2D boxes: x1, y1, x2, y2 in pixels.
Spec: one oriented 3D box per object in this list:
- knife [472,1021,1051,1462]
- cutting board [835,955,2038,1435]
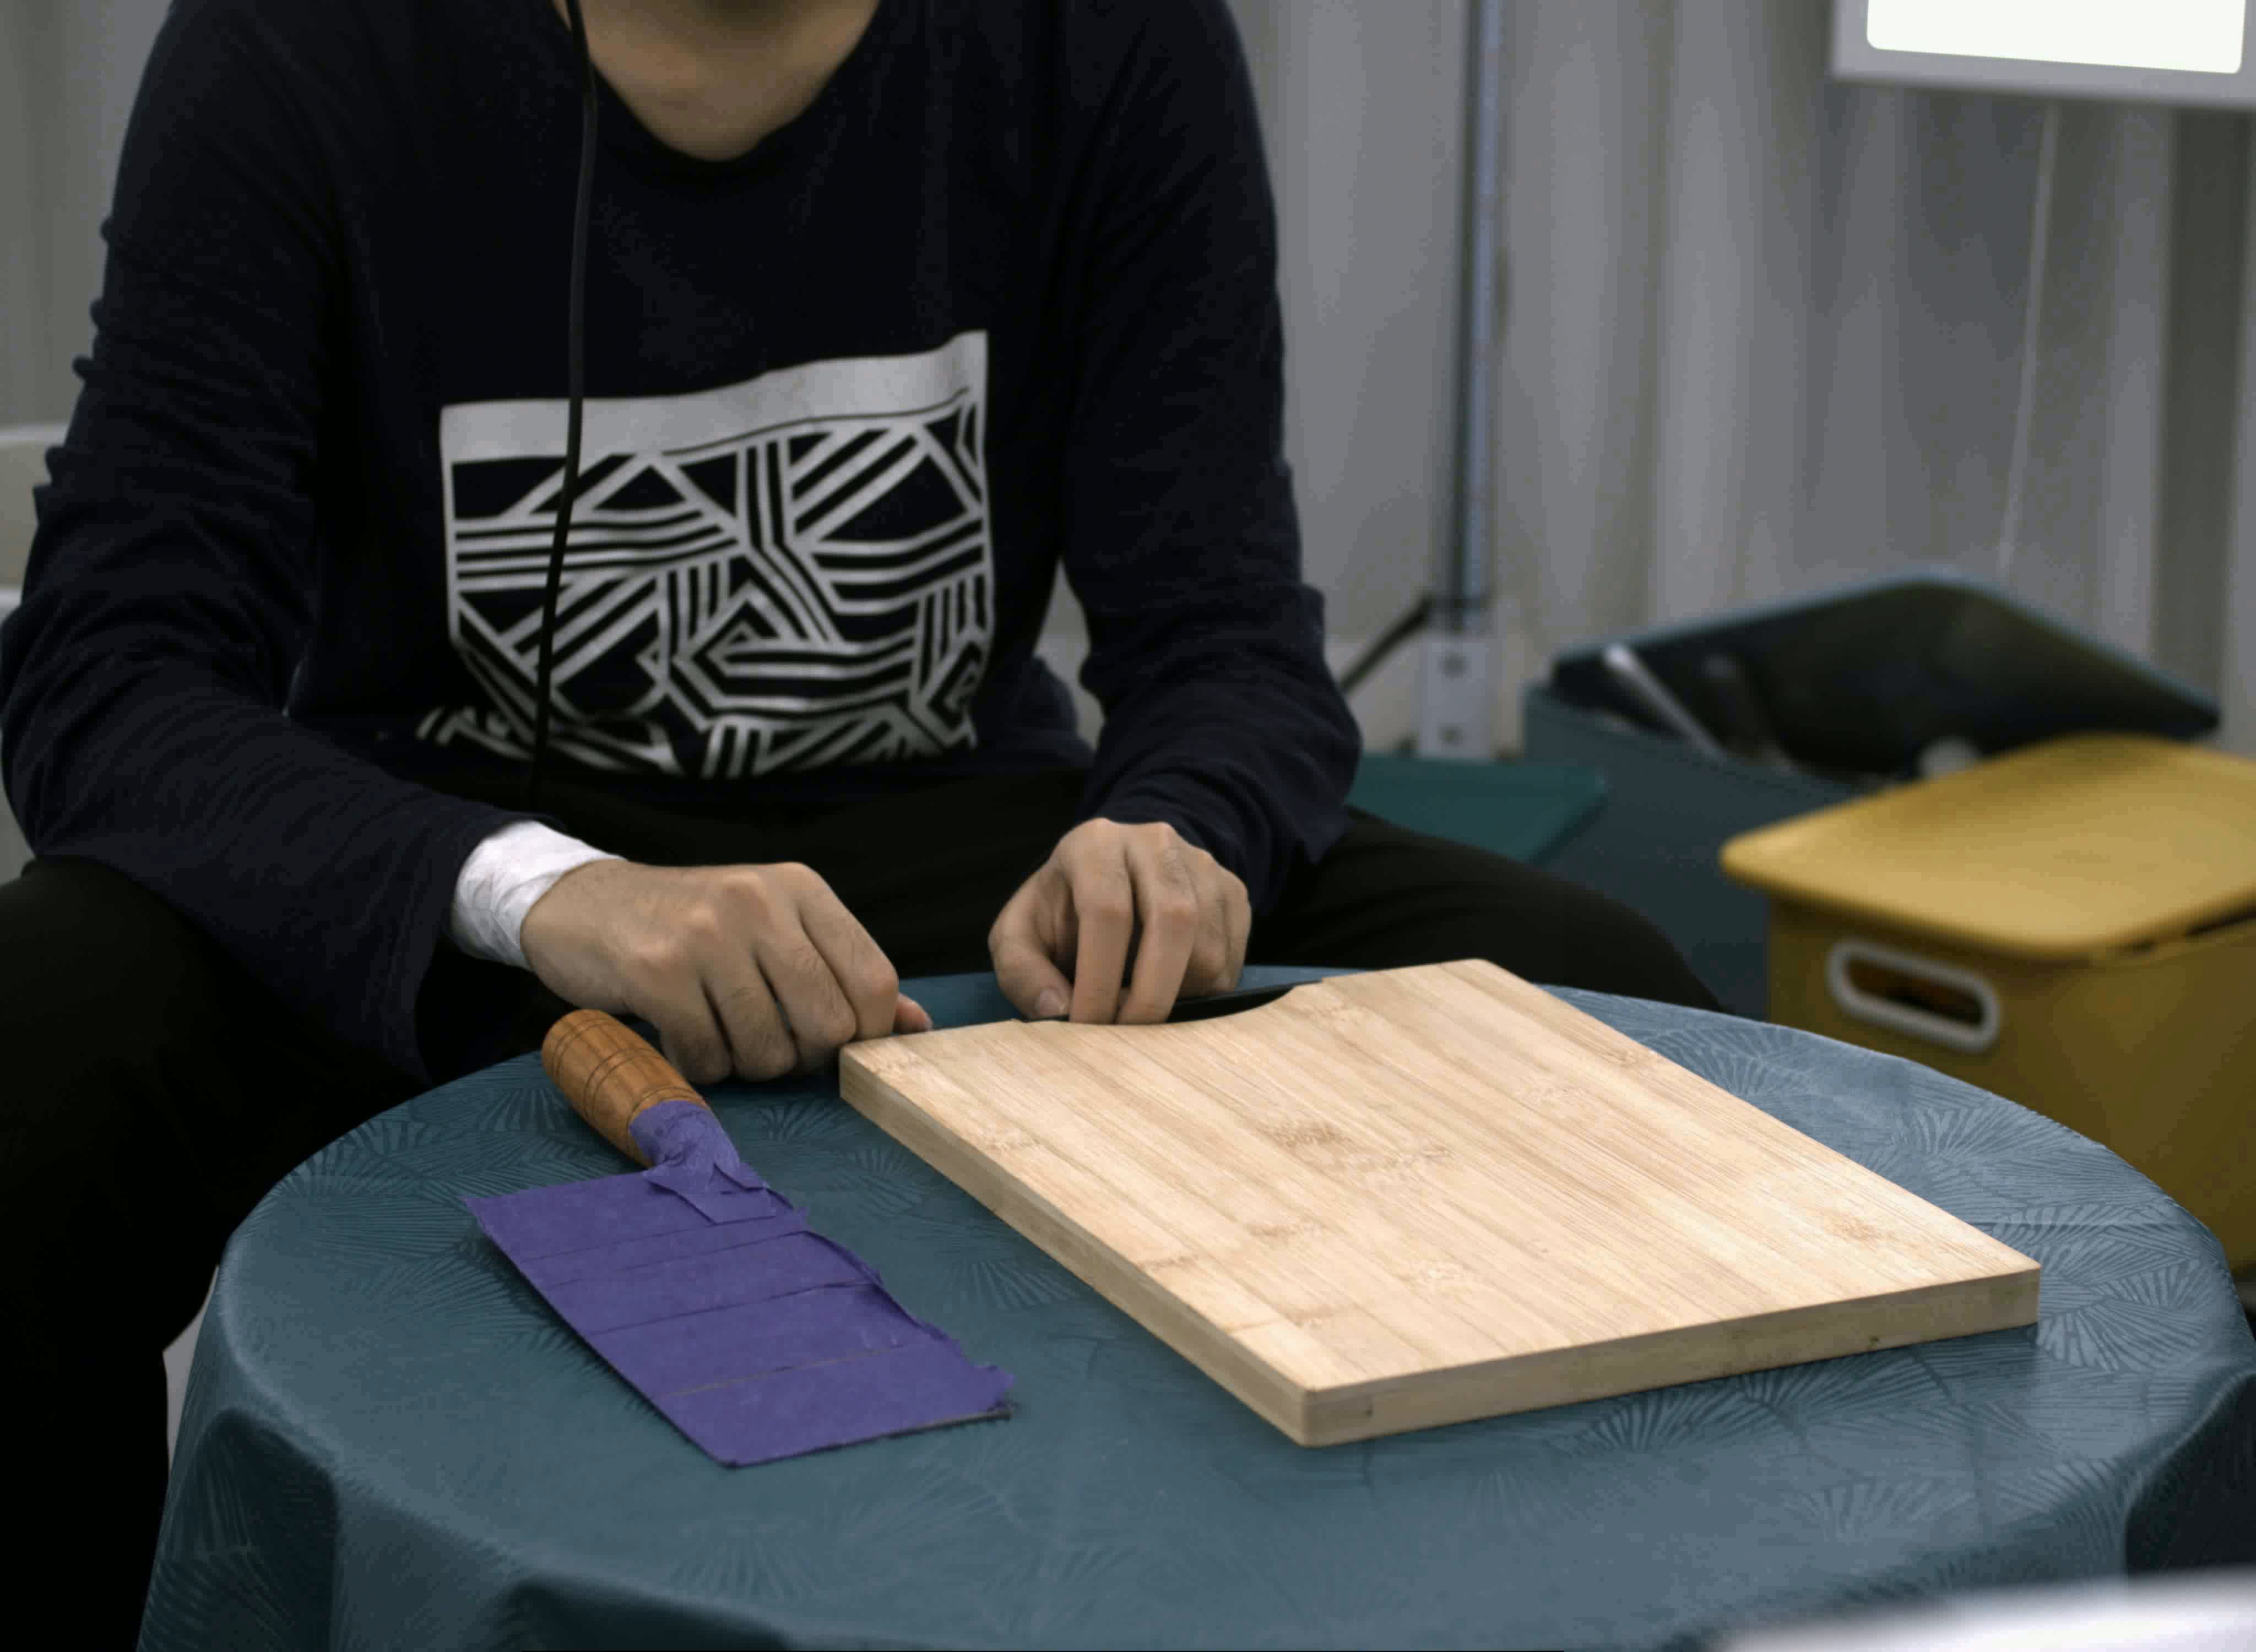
[{"bbox_3d":[-0.136,0.118,1.550,0.104,0.032,0.311,-7,18,-27],"label":"knife"},{"bbox_3d":[0.083,0.106,1.619,0.251,0.024,0.344,-7,17,-25],"label":"cutting board"}]
